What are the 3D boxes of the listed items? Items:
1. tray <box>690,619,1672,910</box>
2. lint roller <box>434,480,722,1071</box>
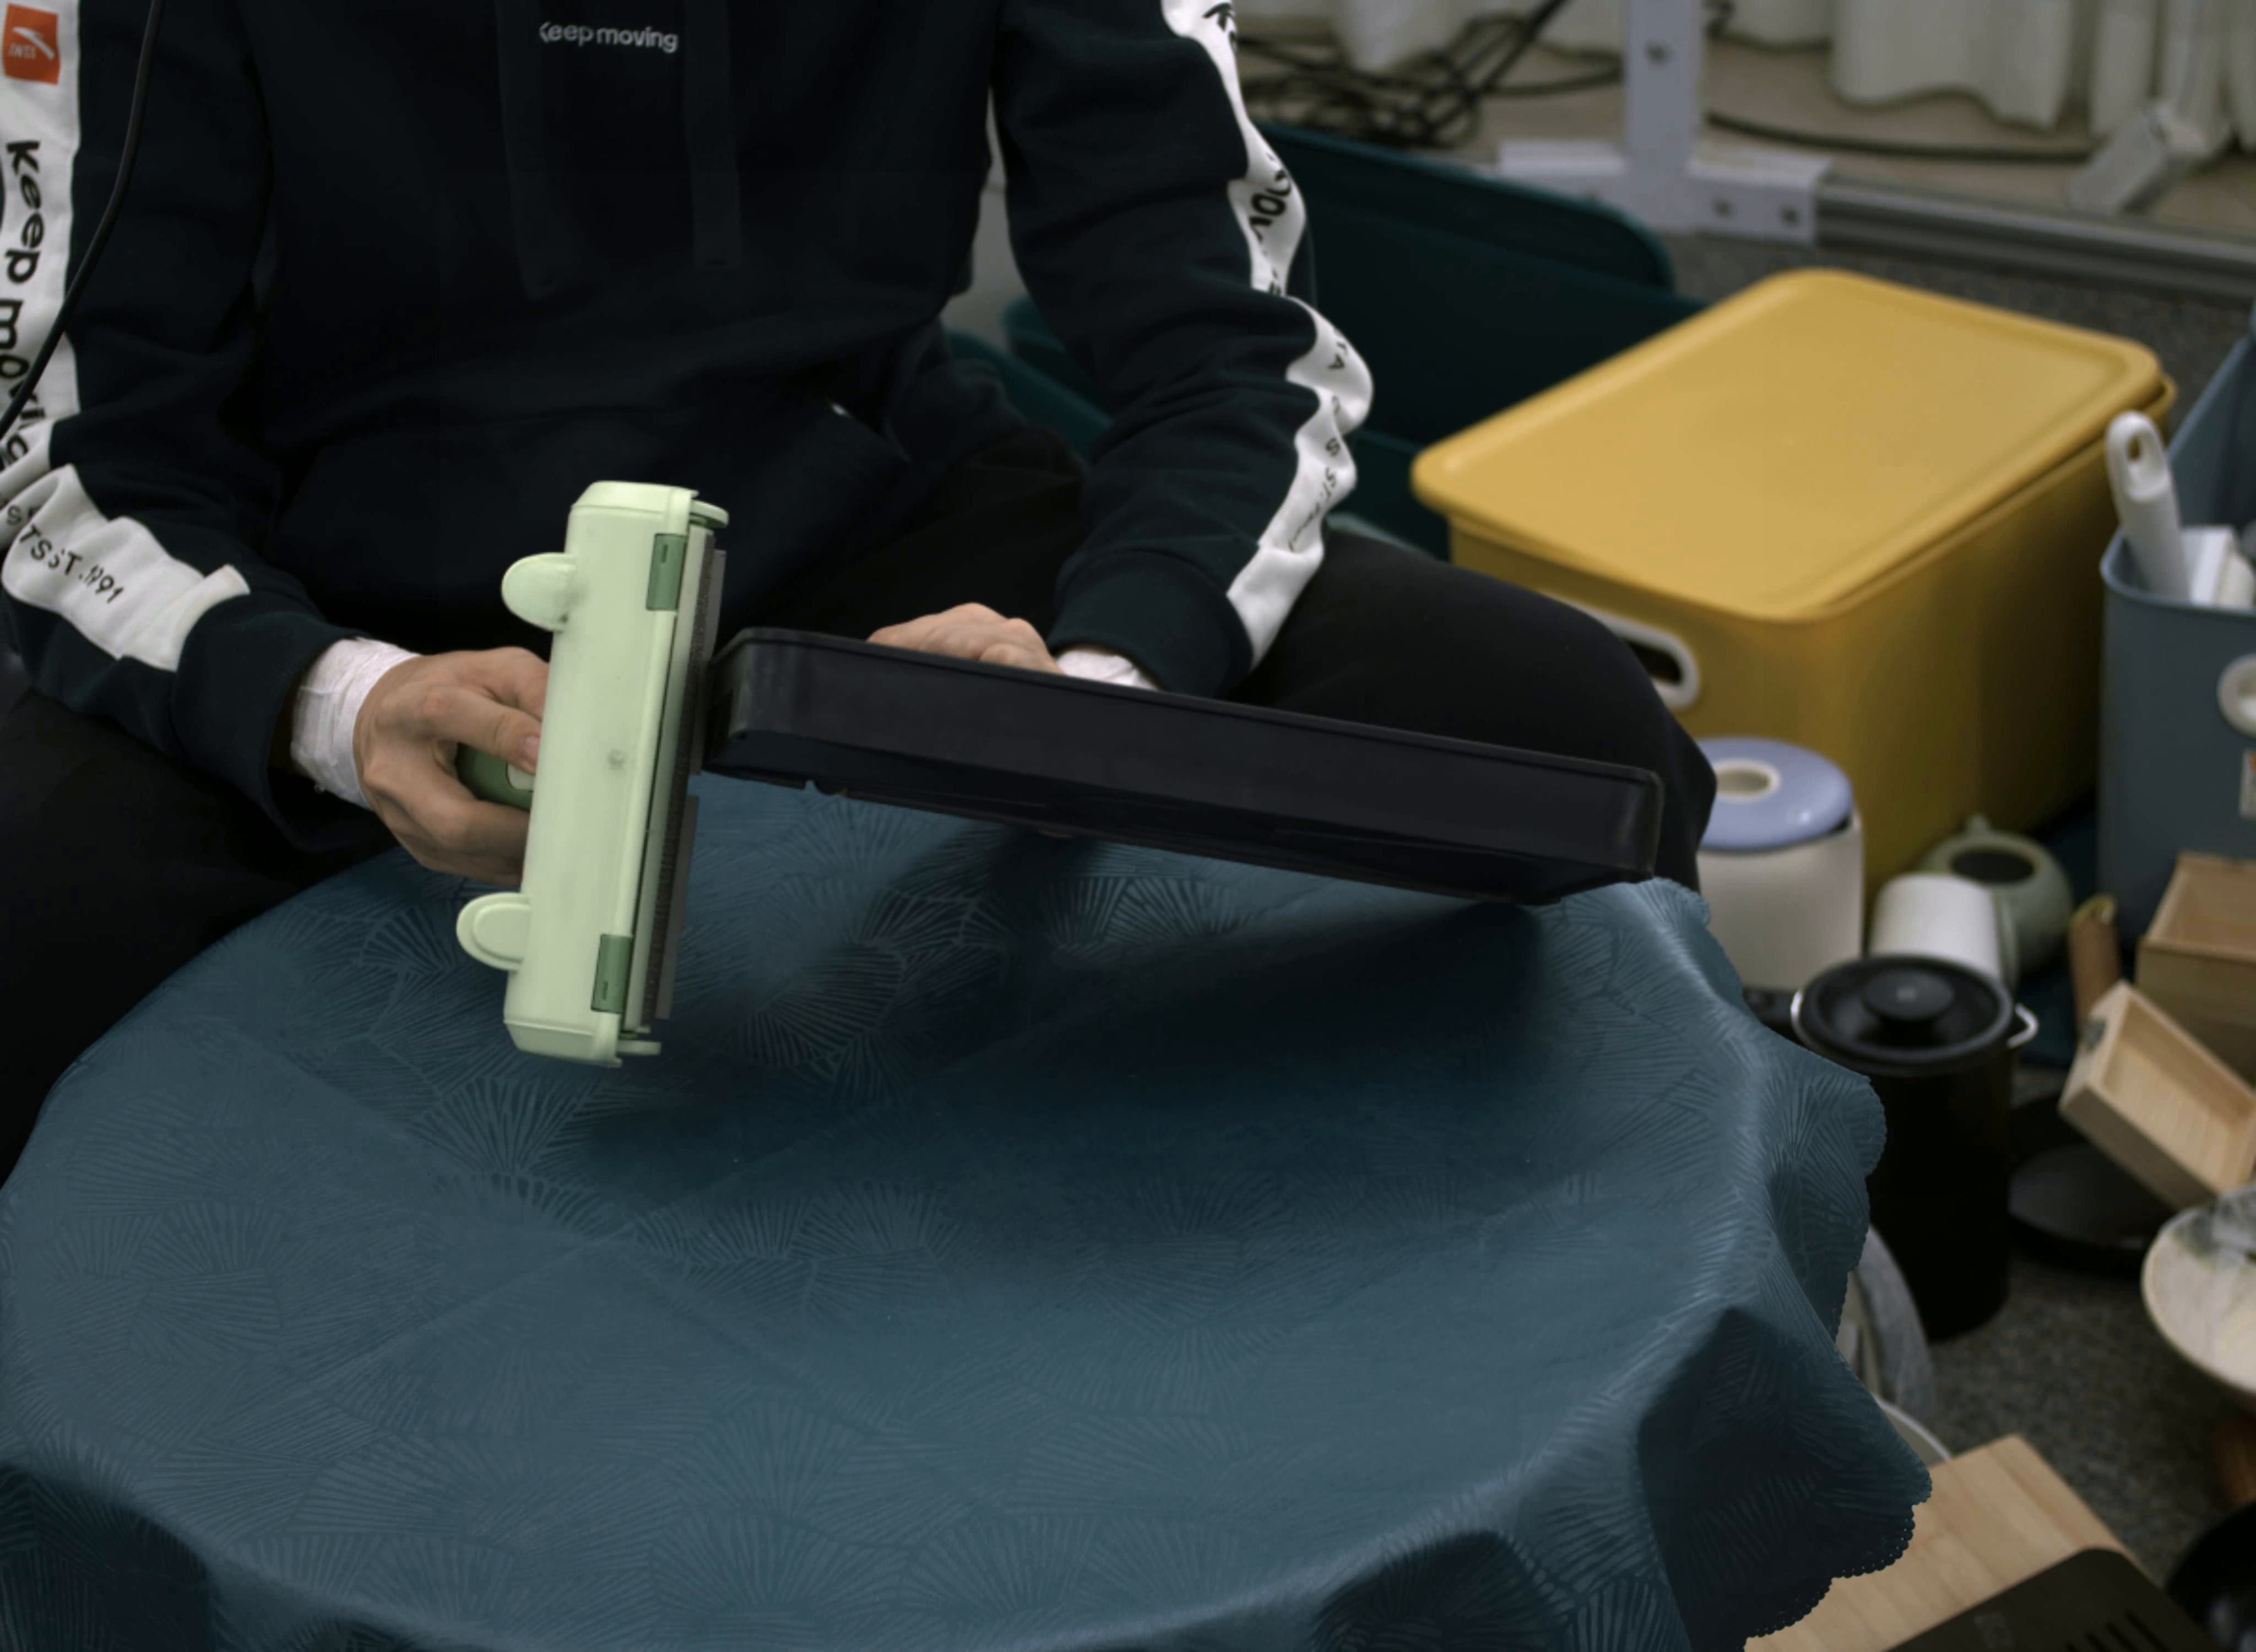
[{"bbox_3d":[0.013,-0.018,1.917,0.317,0.037,0.183,9,-7,-9],"label":"tray"},{"bbox_3d":[-0.213,-0.020,1.942,0.082,0.200,0.182,9,-4,-38],"label":"lint roller"}]
